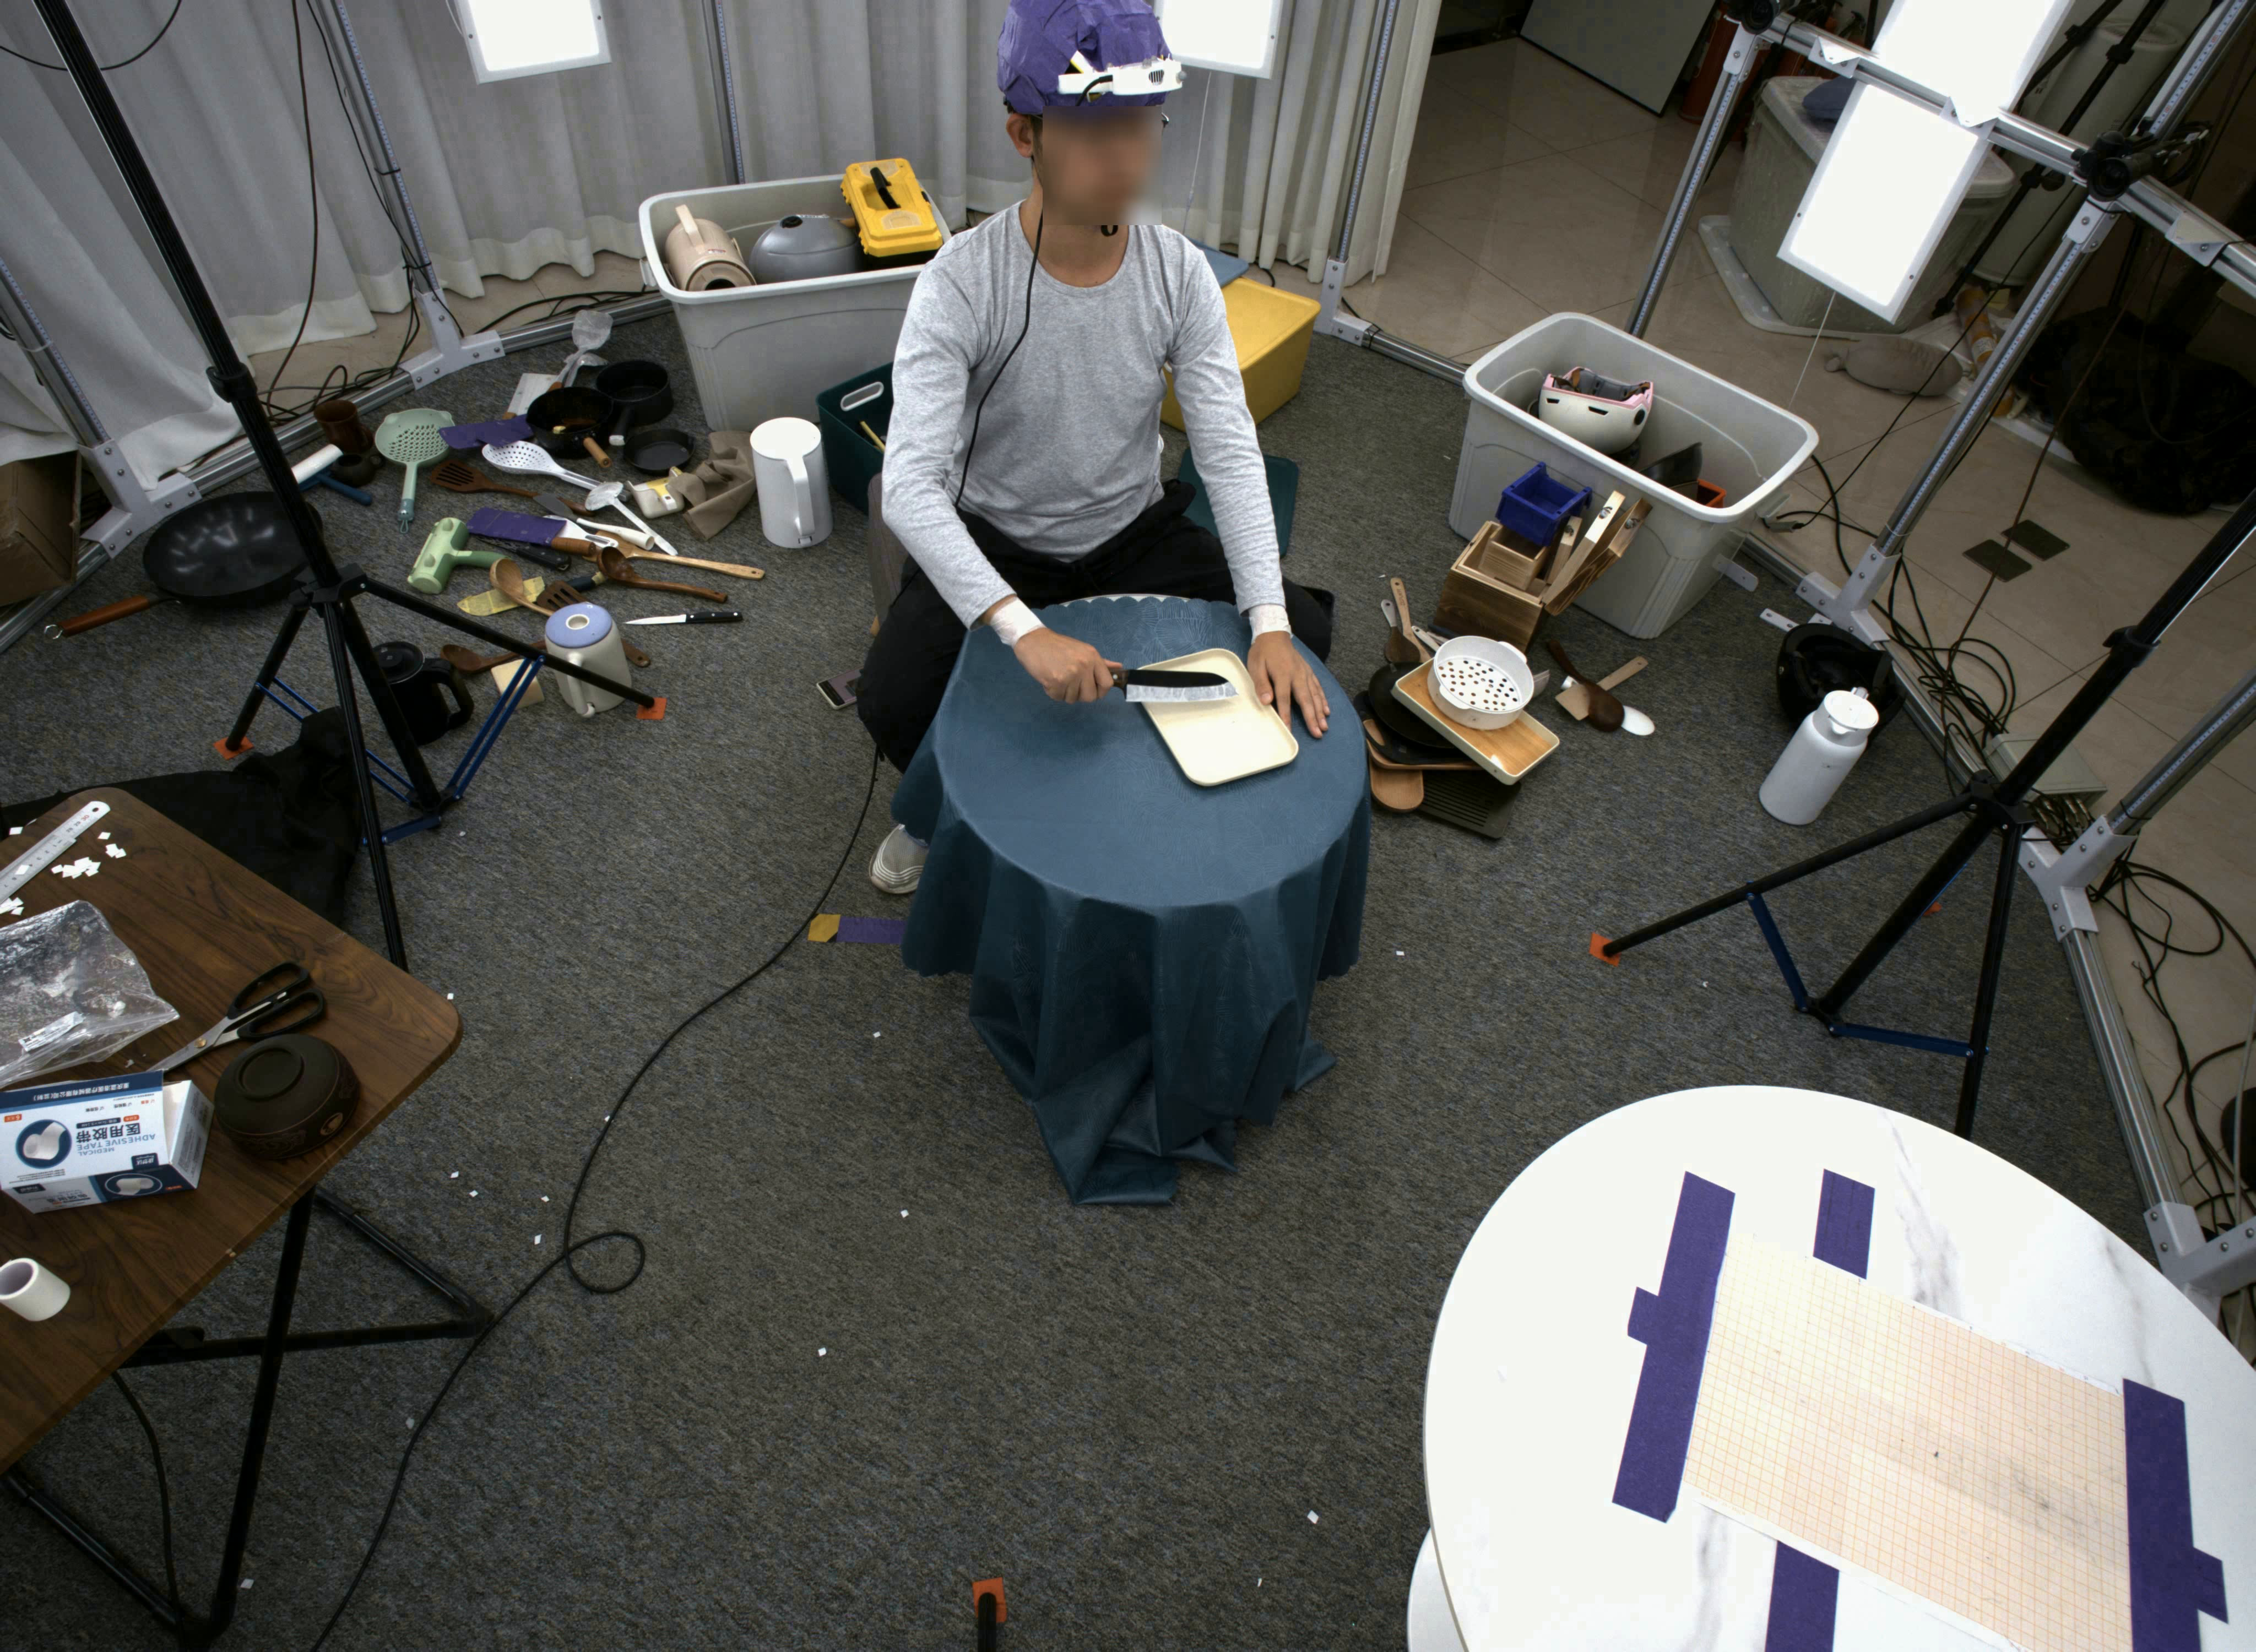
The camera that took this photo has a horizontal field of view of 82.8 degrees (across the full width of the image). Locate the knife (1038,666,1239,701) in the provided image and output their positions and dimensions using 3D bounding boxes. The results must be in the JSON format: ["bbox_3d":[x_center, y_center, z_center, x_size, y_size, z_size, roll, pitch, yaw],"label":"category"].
[{"bbox_3d":[0.018,-0.198,1.770,0.288,0.020,0.050,2,92,-15],"label":"knife"}]

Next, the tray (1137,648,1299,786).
[{"bbox_3d":[0.120,-0.154,1.798,0.171,0.017,0.245,-15,52,-17],"label":"tray"}]
